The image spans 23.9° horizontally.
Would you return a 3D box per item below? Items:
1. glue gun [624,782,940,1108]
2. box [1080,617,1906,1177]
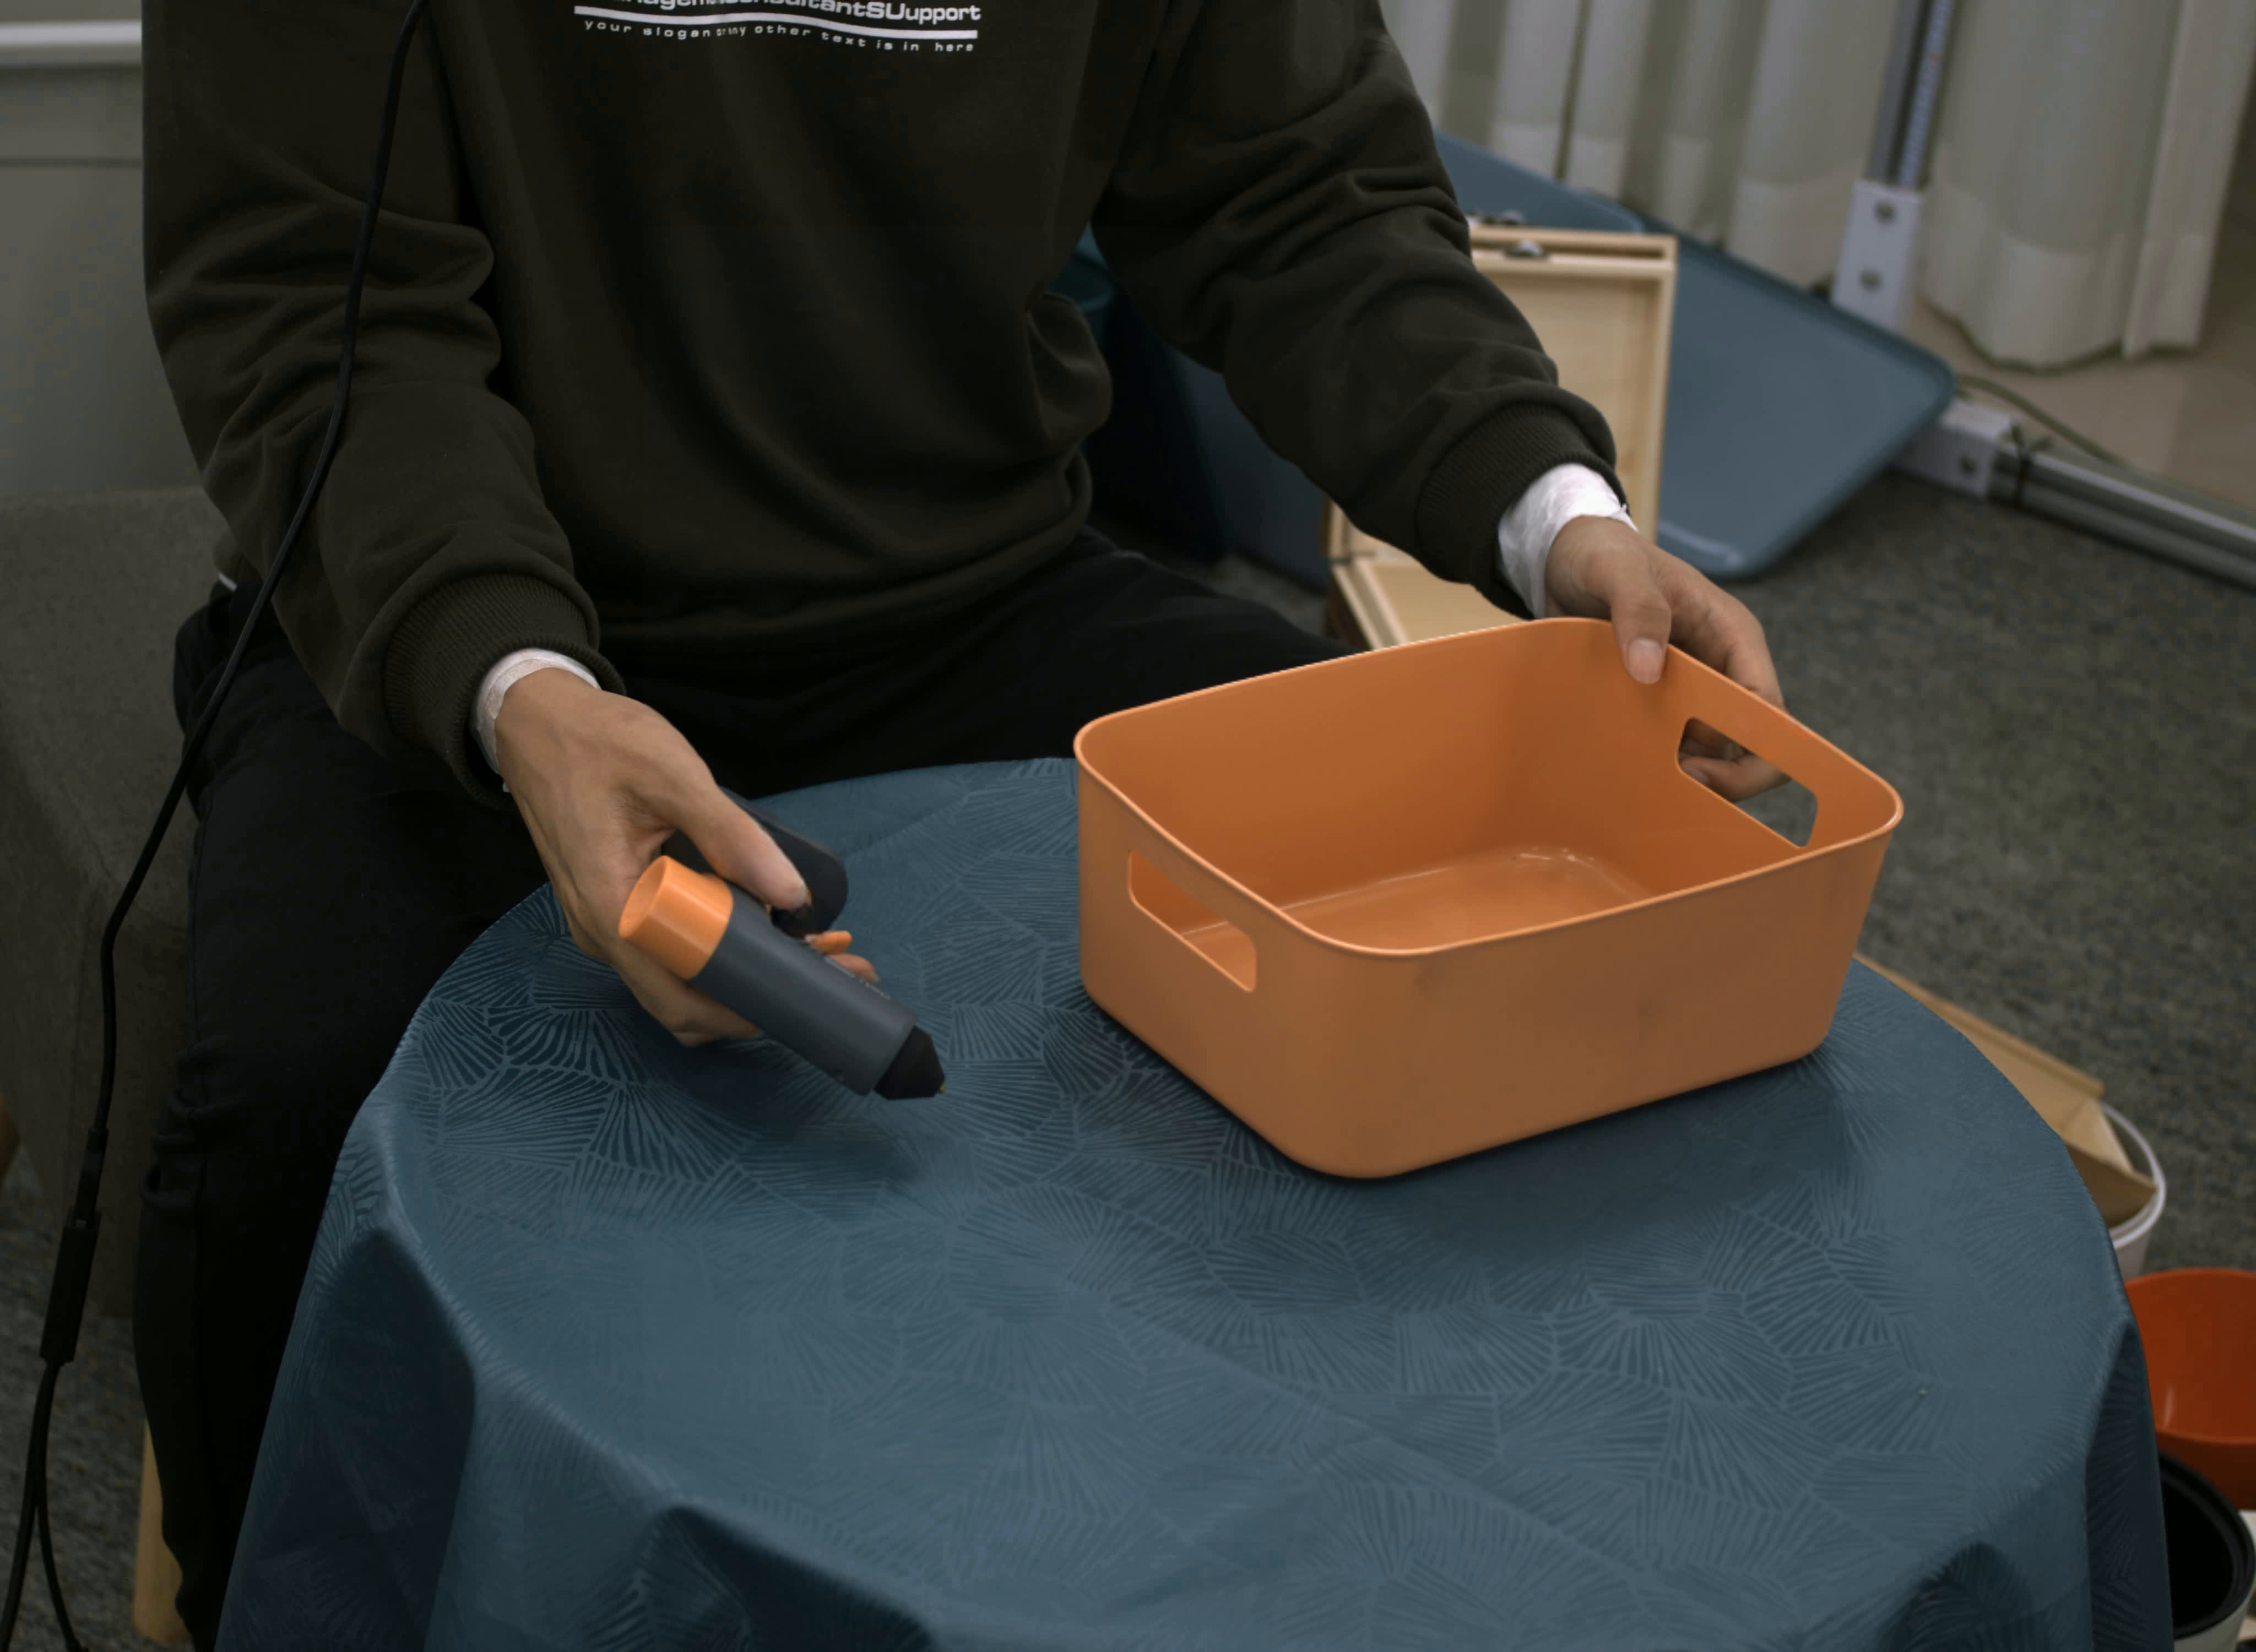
[{"bbox_3d":[-0.121,0.042,1.849,0.117,0.041,0.141,33,13,-20],"label":"glue gun"},{"bbox_3d":[0.125,0.024,1.921,0.271,0.102,0.201,-13,33,-33],"label":"box"}]
